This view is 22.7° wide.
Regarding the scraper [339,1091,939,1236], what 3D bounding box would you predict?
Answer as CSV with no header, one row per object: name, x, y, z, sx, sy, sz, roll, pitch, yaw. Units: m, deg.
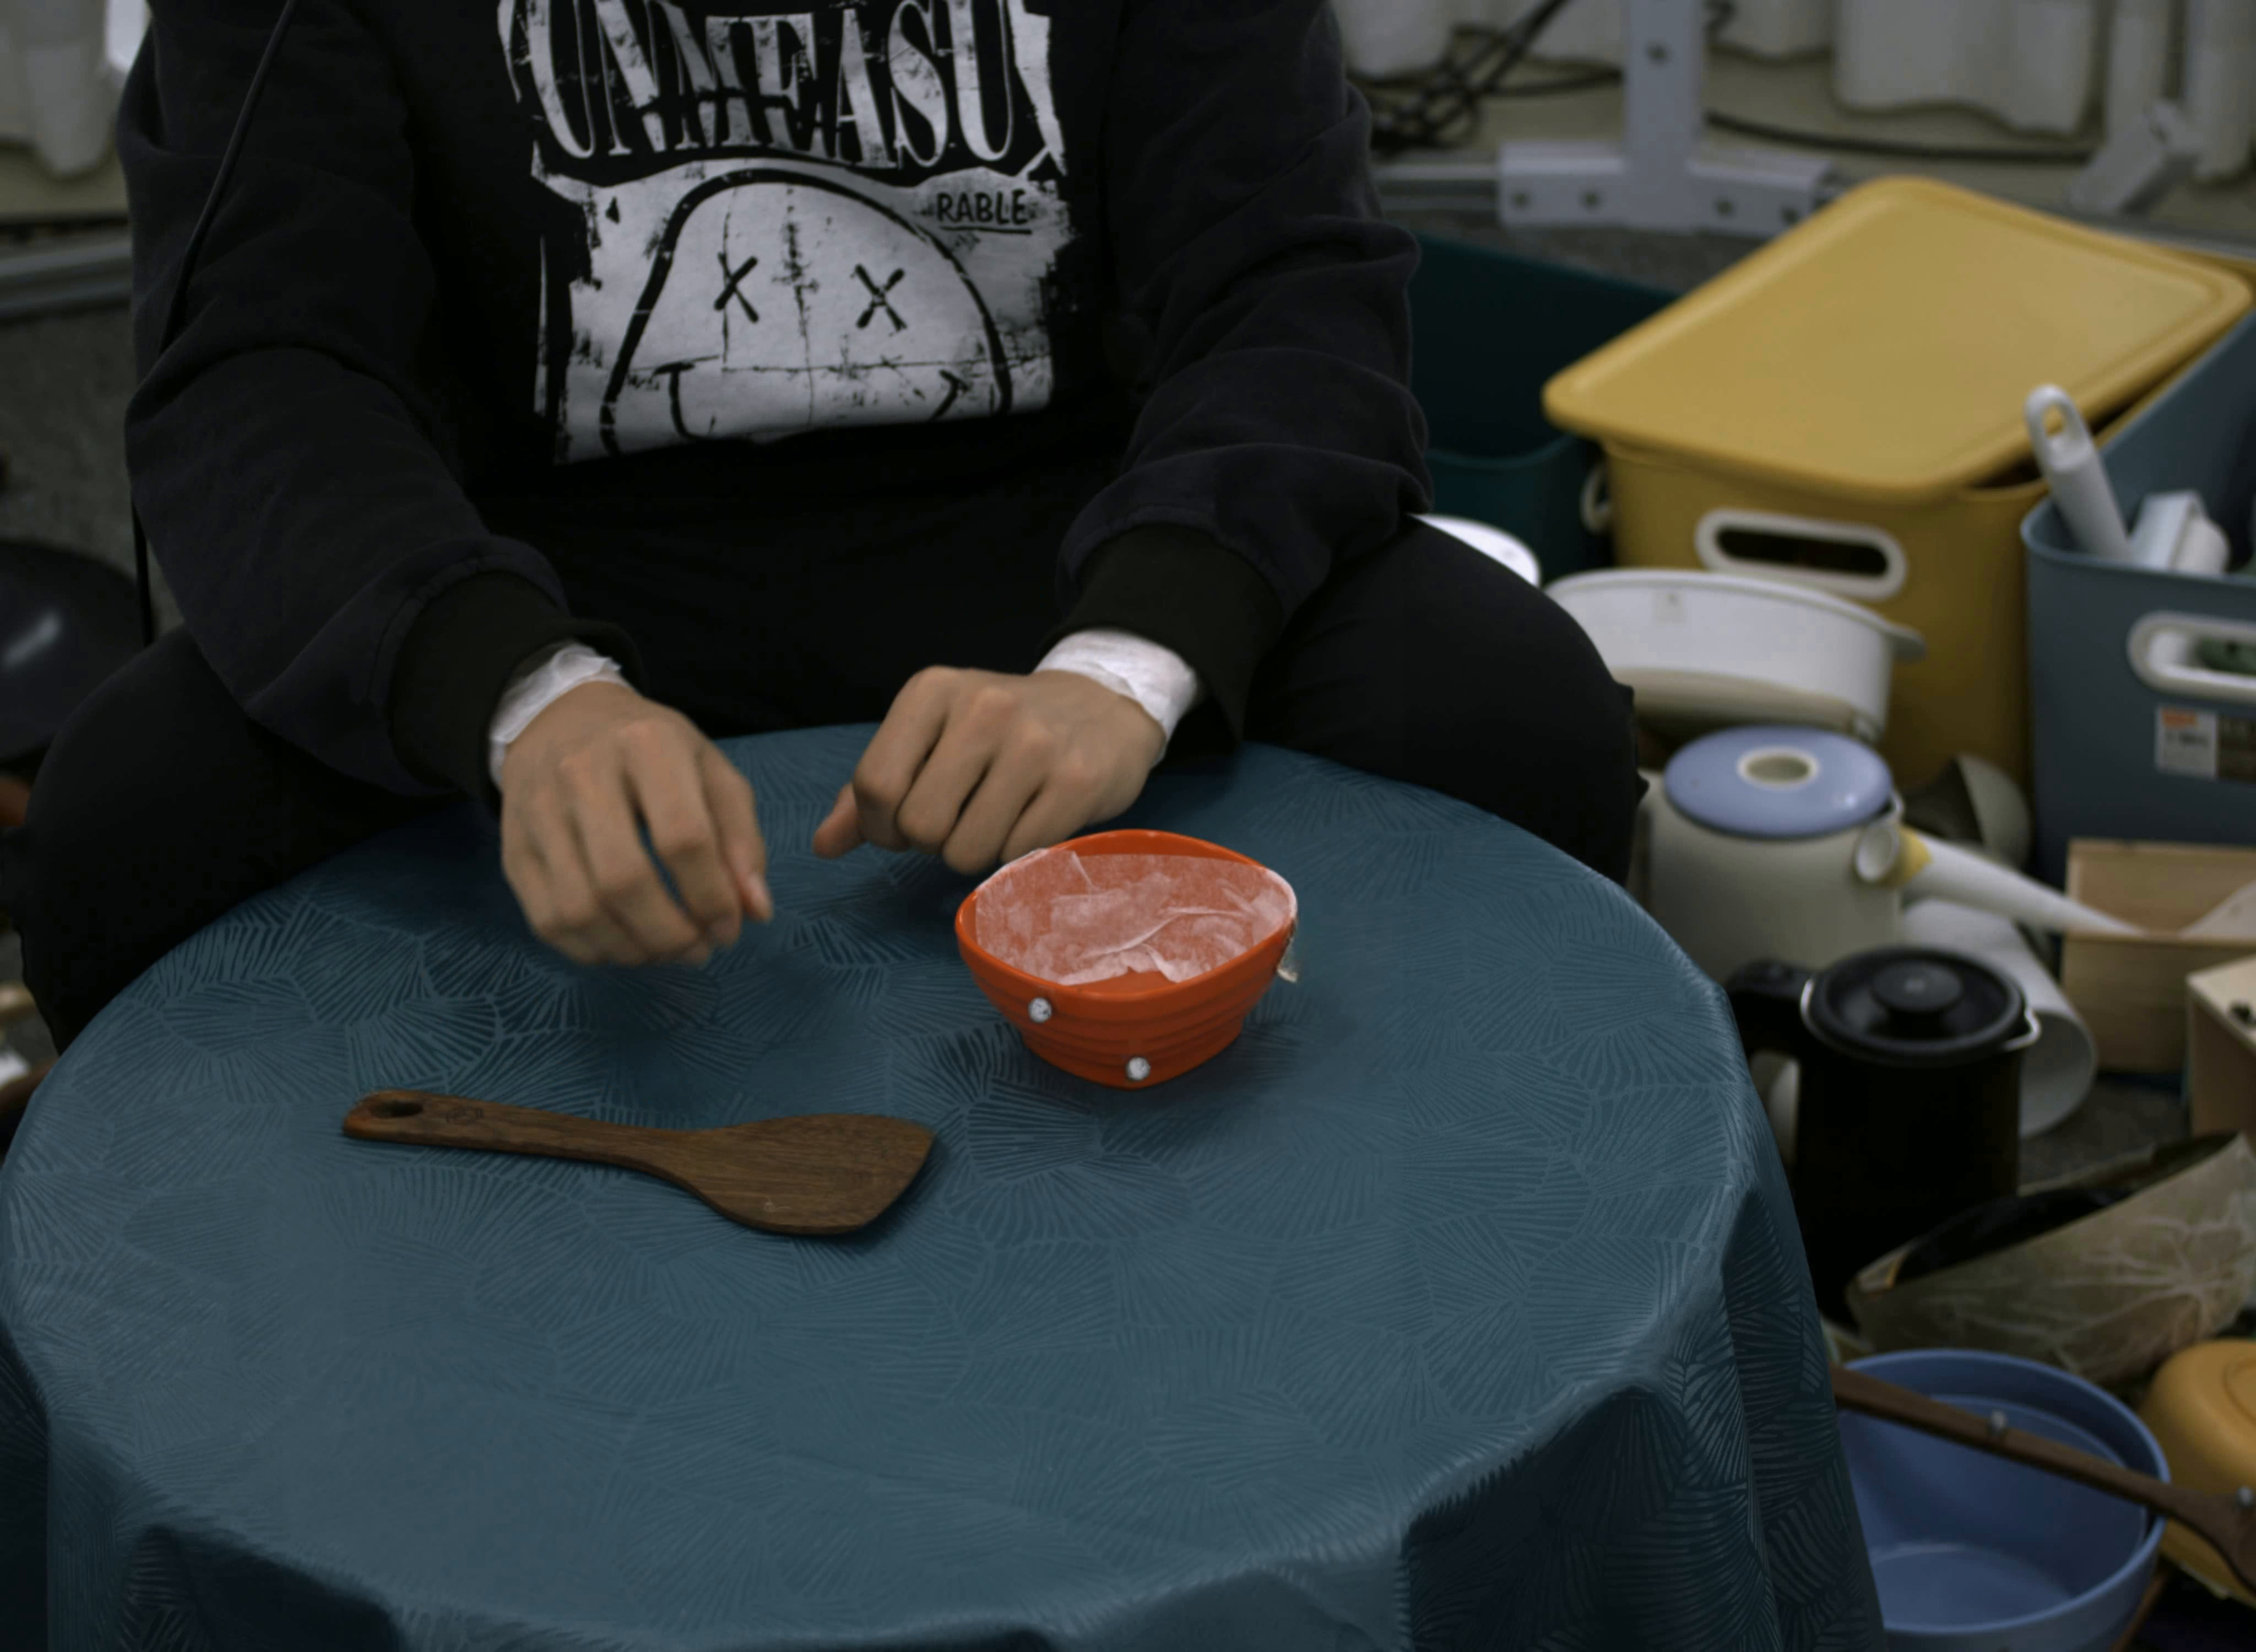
scraper,-0.168,0.109,1.894,0.210,0.011,0.077,6,28,18

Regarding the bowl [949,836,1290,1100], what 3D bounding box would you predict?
bowl,0.000,0.053,1.947,0.118,0.051,0.121,-6,28,3
